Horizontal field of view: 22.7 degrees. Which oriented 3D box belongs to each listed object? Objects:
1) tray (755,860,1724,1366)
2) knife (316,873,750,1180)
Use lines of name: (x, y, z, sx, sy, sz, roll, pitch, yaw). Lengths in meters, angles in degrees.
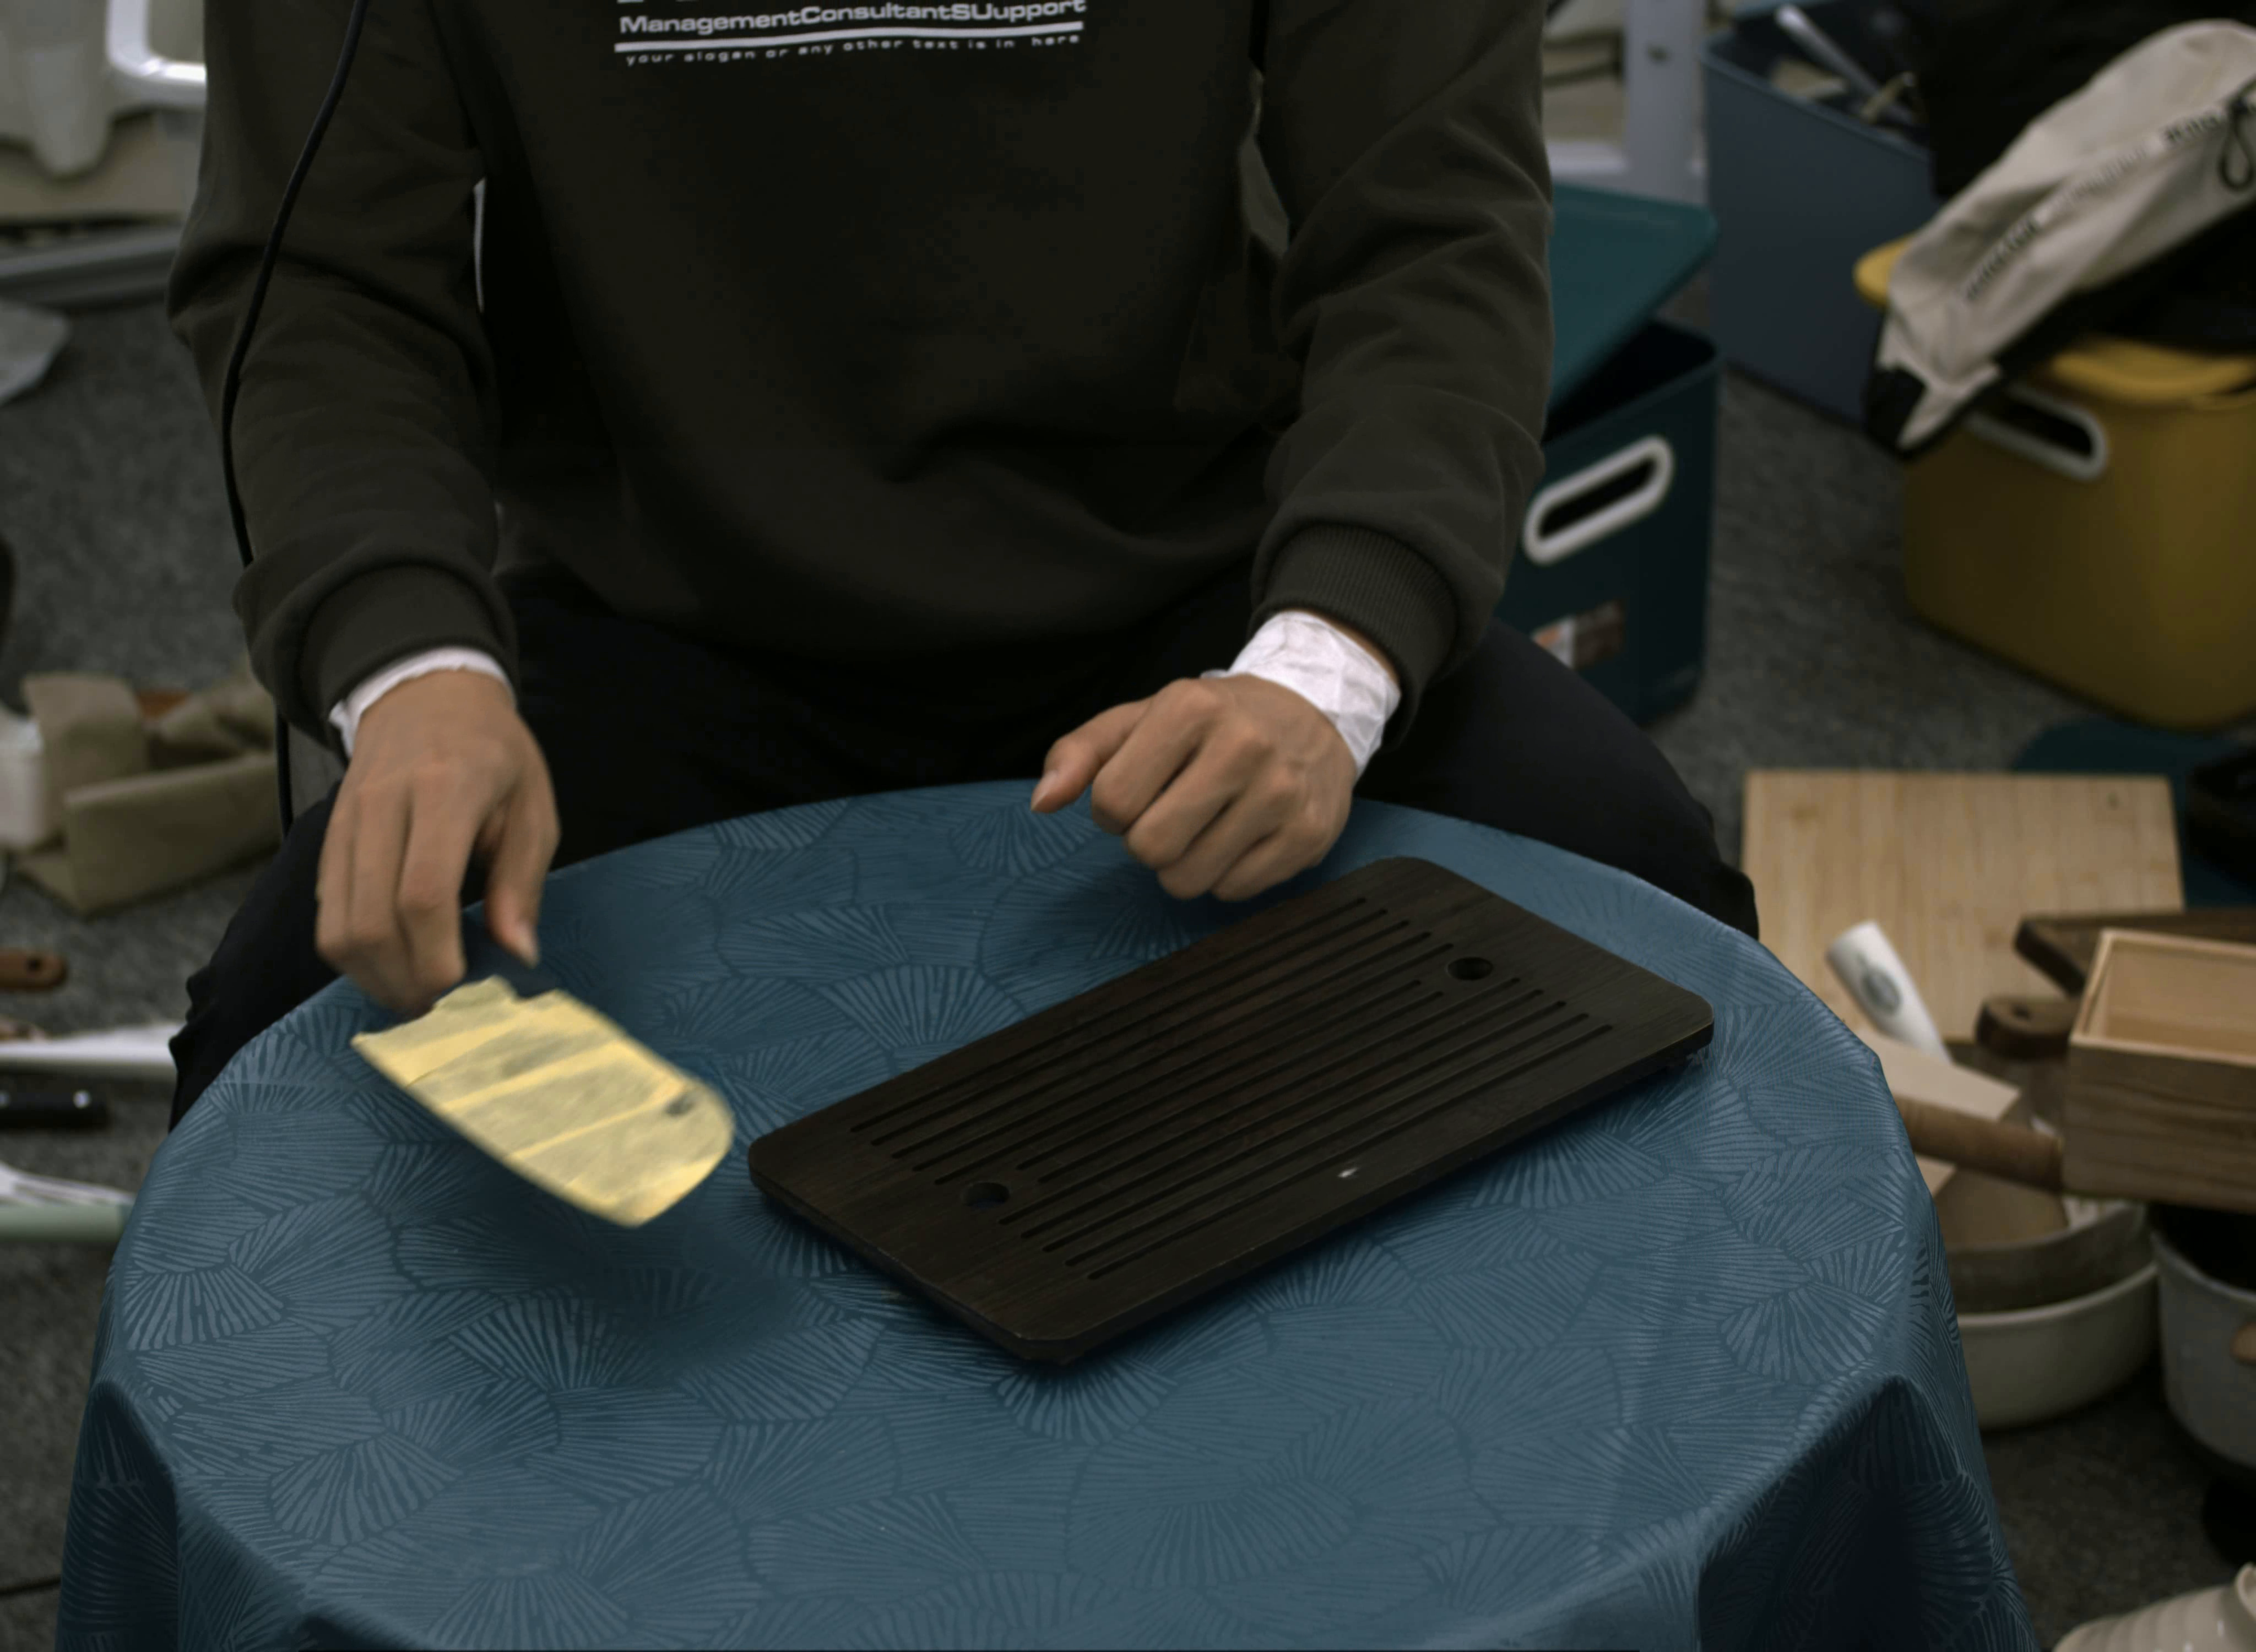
tray: (0.040, 0.094, 1.891, 0.309, 0.018, 0.170, -23, 33, -34)
knife: (-0.211, 0.068, 1.869, 0.081, 0.027, 0.290, -15, 24, -29)
